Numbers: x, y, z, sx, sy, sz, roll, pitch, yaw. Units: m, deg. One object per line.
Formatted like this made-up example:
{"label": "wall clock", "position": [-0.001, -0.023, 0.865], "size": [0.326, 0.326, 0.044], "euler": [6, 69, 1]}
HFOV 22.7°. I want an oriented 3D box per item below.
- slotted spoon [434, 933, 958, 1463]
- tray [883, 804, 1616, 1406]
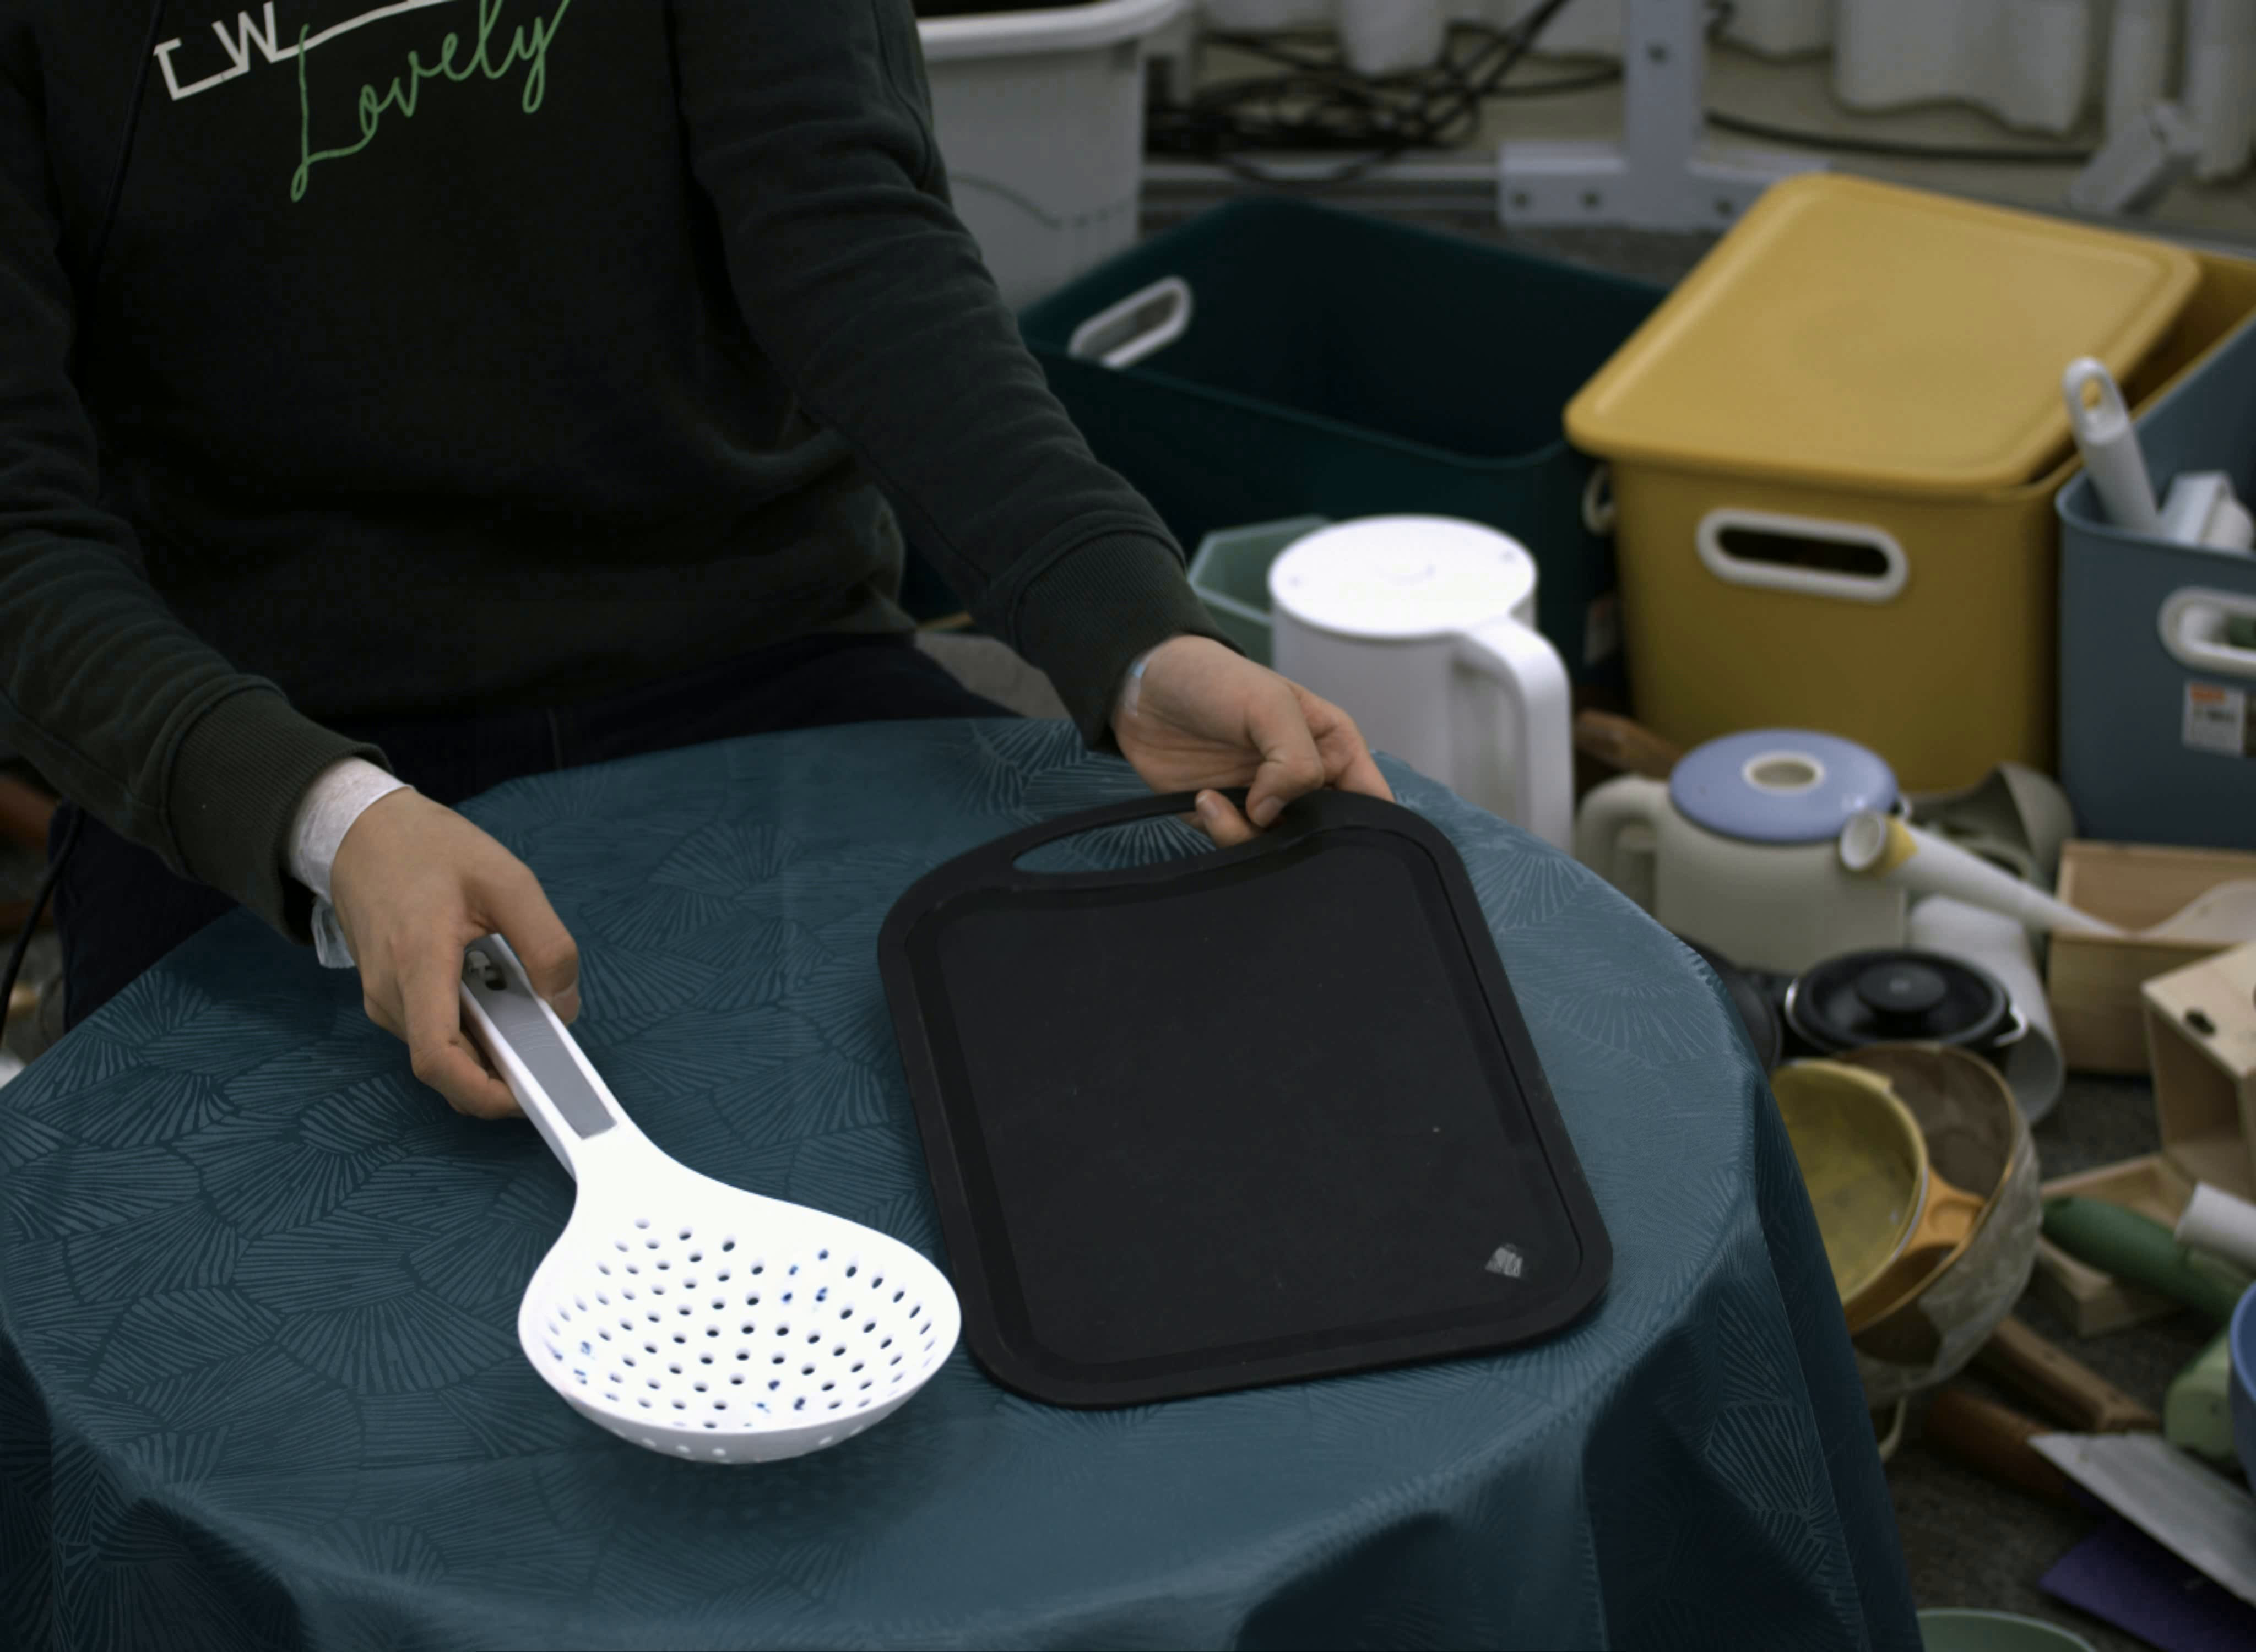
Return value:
{"label": "slotted spoon", "position": [-0.163, 0.115, 1.822], "size": [0.136, 0.045, 0.353], "euler": [-8, 31, -22]}
{"label": "tray", "position": [0.032, 0.083, 1.885], "size": [0.210, 0.009, 0.330], "euler": [-9, 33, -6]}
